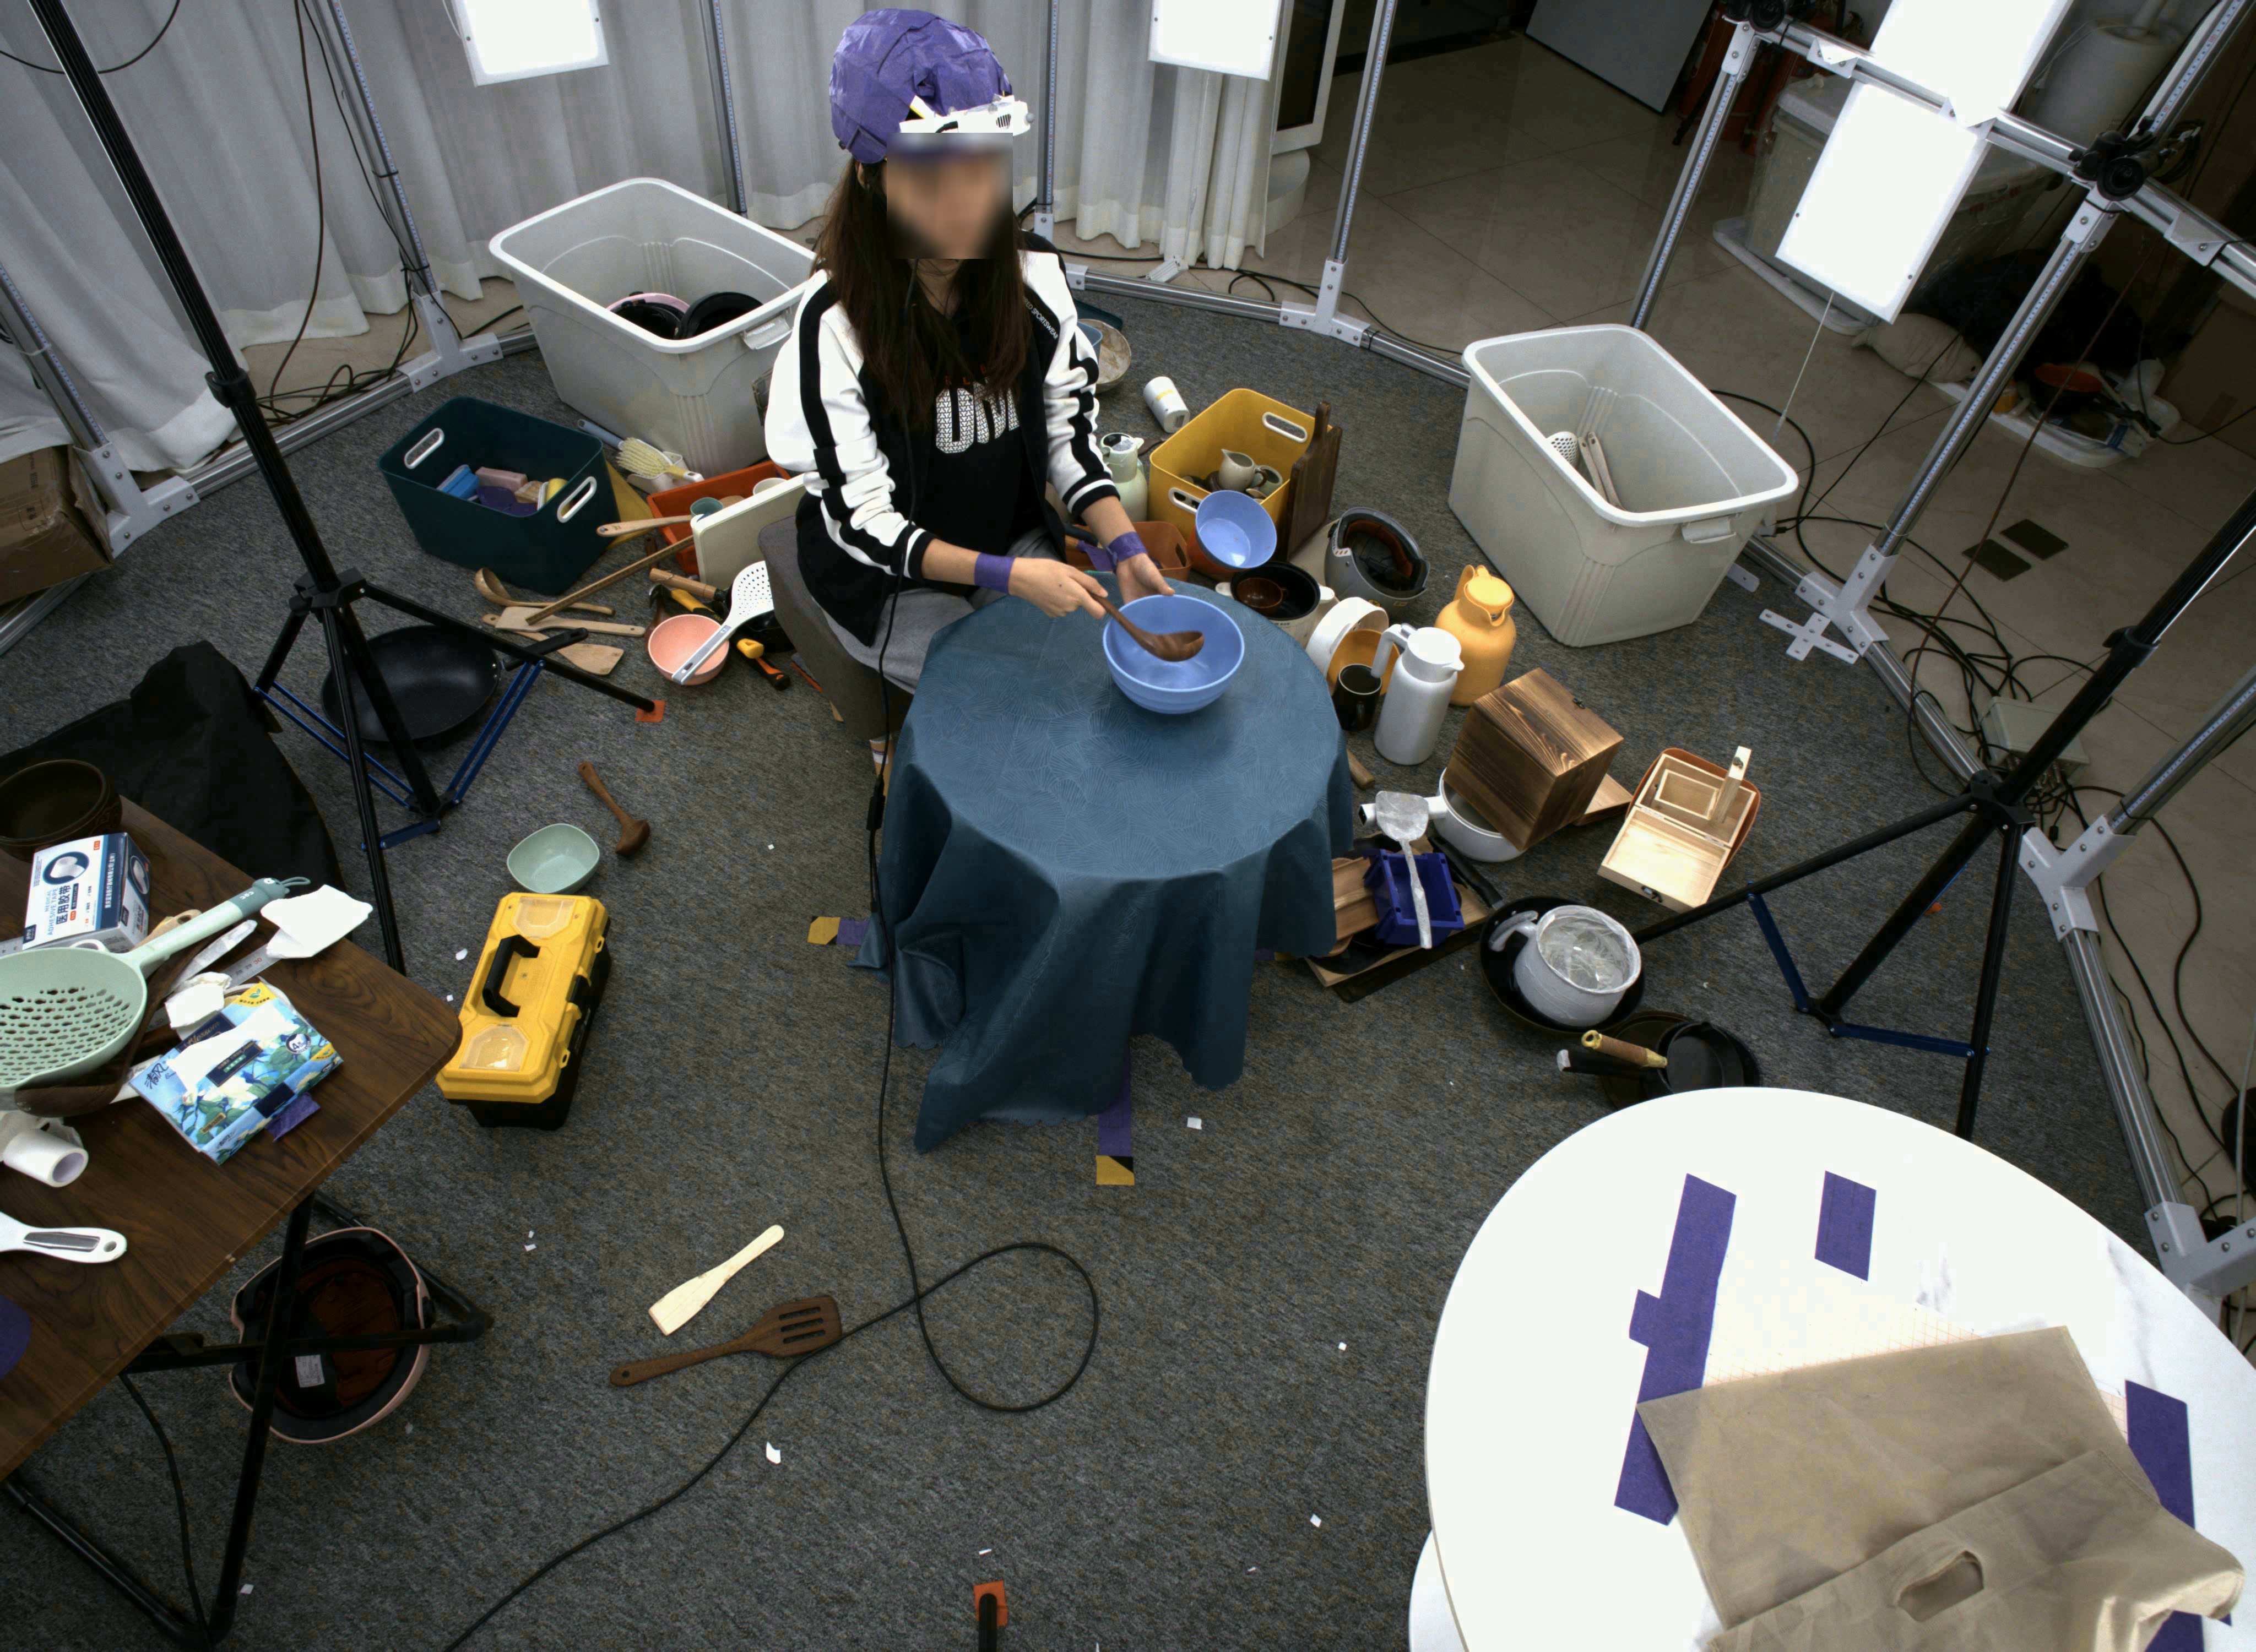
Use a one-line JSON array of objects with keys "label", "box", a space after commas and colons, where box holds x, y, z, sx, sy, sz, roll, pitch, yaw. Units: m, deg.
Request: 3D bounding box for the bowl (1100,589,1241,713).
[{"label": "bowl", "box": [0.058, -0.232, 1.815, 0.196, 0.093, 0.201, 0, 55, -1]}]

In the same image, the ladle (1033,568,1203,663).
[{"label": "ladle", "box": [-0.013, -0.303, 1.781, 0.261, 0.064, 0.077, 35, 24, 6]}]
